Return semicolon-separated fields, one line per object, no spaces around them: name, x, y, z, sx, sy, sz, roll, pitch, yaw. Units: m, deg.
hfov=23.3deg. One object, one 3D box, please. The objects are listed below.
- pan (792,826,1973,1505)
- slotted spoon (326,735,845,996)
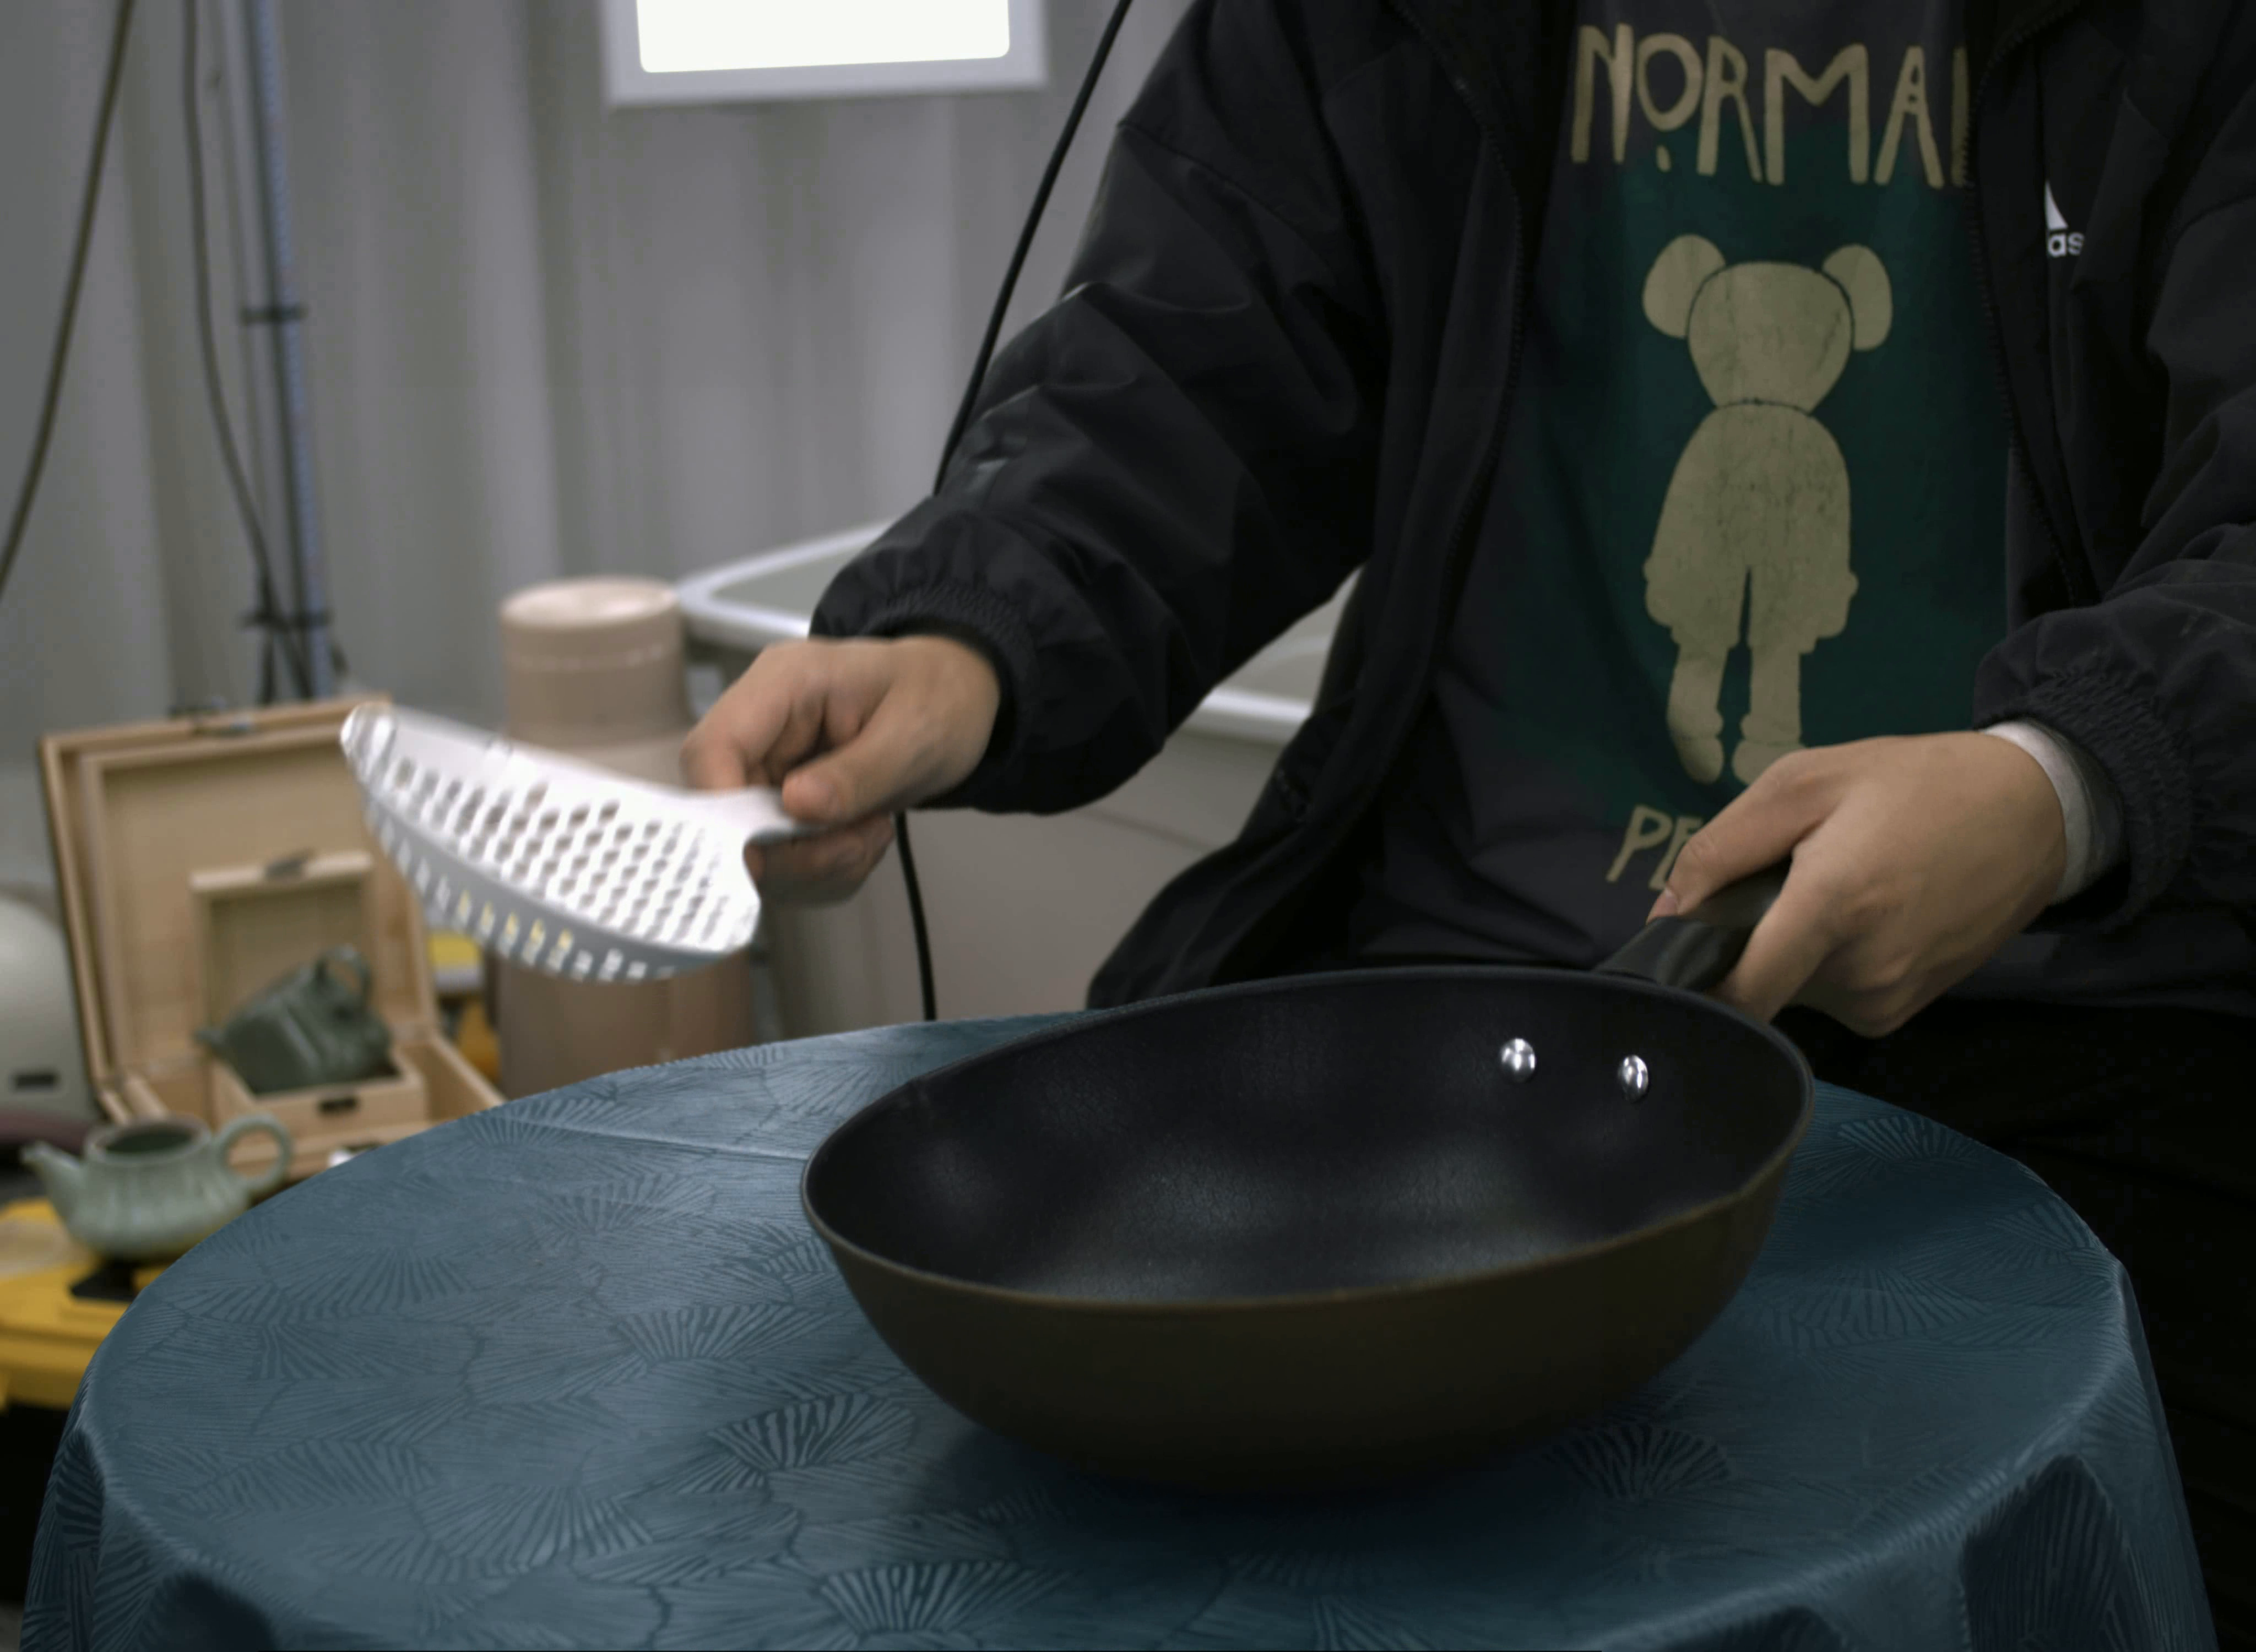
pan;0.108;0.095;1.573;0.289;0.086;0.463;7;20;39
slotted spoon;-0.142;0.013;1.704;0.137;0.050;0.347;28;13;15
